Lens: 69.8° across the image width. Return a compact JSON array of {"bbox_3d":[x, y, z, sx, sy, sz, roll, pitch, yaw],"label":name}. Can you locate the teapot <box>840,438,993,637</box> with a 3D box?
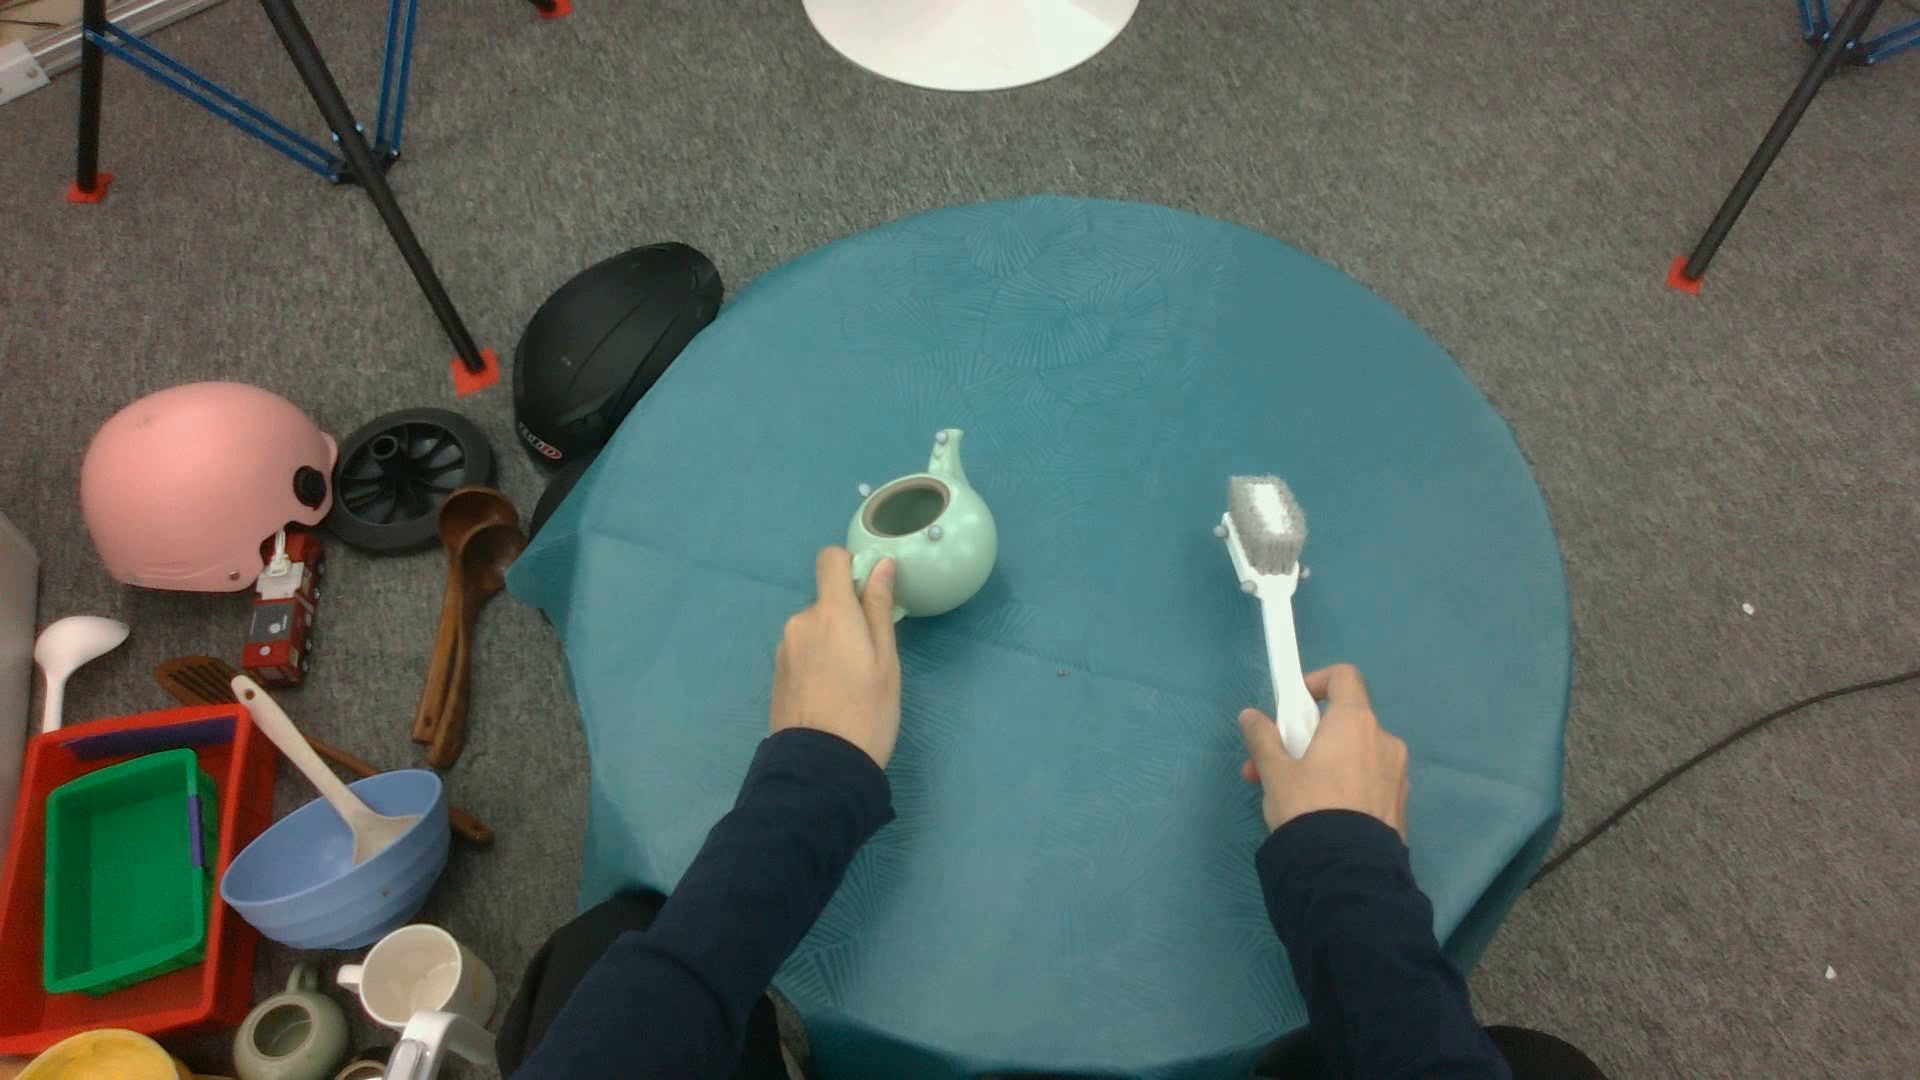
[{"bbox_3d":[-0.025,0.008,0.809,0.088,0.074,0.144,6,43,31],"label":"teapot"}]

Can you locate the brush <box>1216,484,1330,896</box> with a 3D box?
[{"bbox_3d":[0.173,0.069,0.747,0.034,0.050,0.245,0,53,-3],"label":"brush"}]
